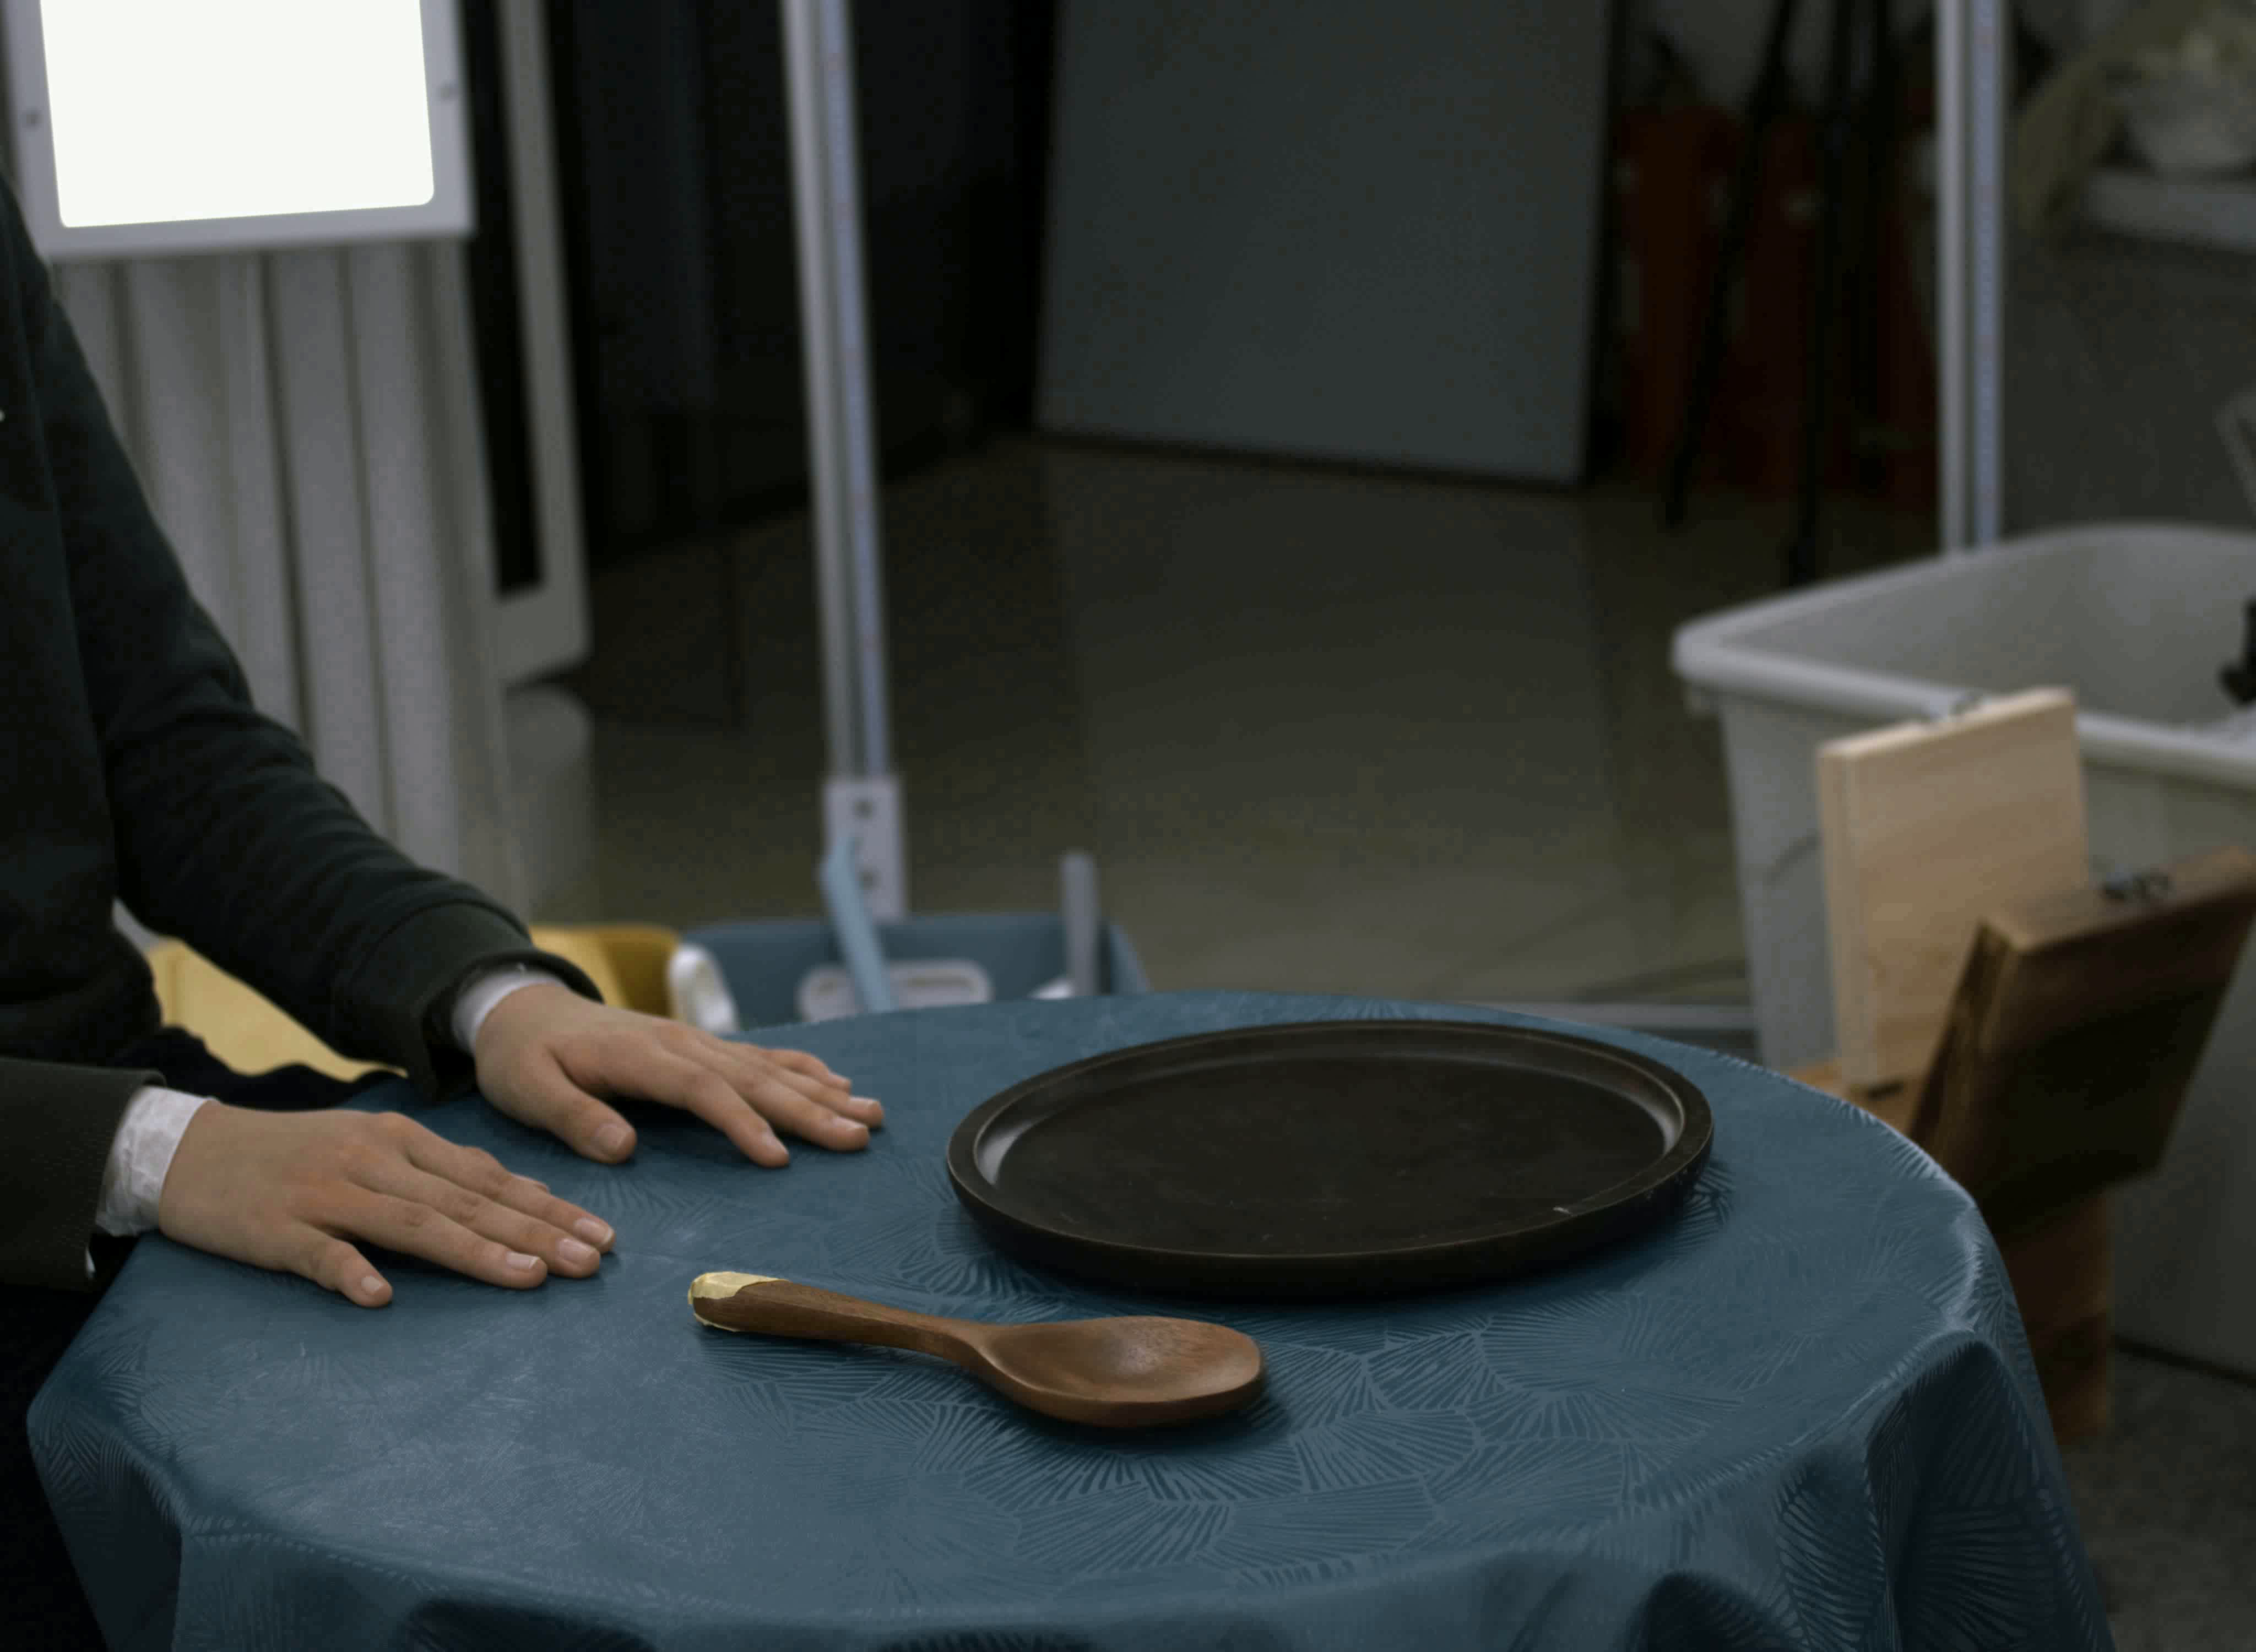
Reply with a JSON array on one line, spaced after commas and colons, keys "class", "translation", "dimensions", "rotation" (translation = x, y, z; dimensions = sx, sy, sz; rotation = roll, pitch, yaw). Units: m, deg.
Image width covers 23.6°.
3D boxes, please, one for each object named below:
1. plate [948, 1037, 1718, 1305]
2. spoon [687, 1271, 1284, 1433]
[{"class": "plate", "translation": [0.067, 0.109, 1.754], "dimensions": [0.251, 0.029, 0.255], "rotation": [-3, 14, 0]}, {"class": "spoon", "translation": [-0.047, 0.156, 1.610], "dimensions": [0.217, 0.017, 0.074], "rotation": [7, 18, 37]}]
